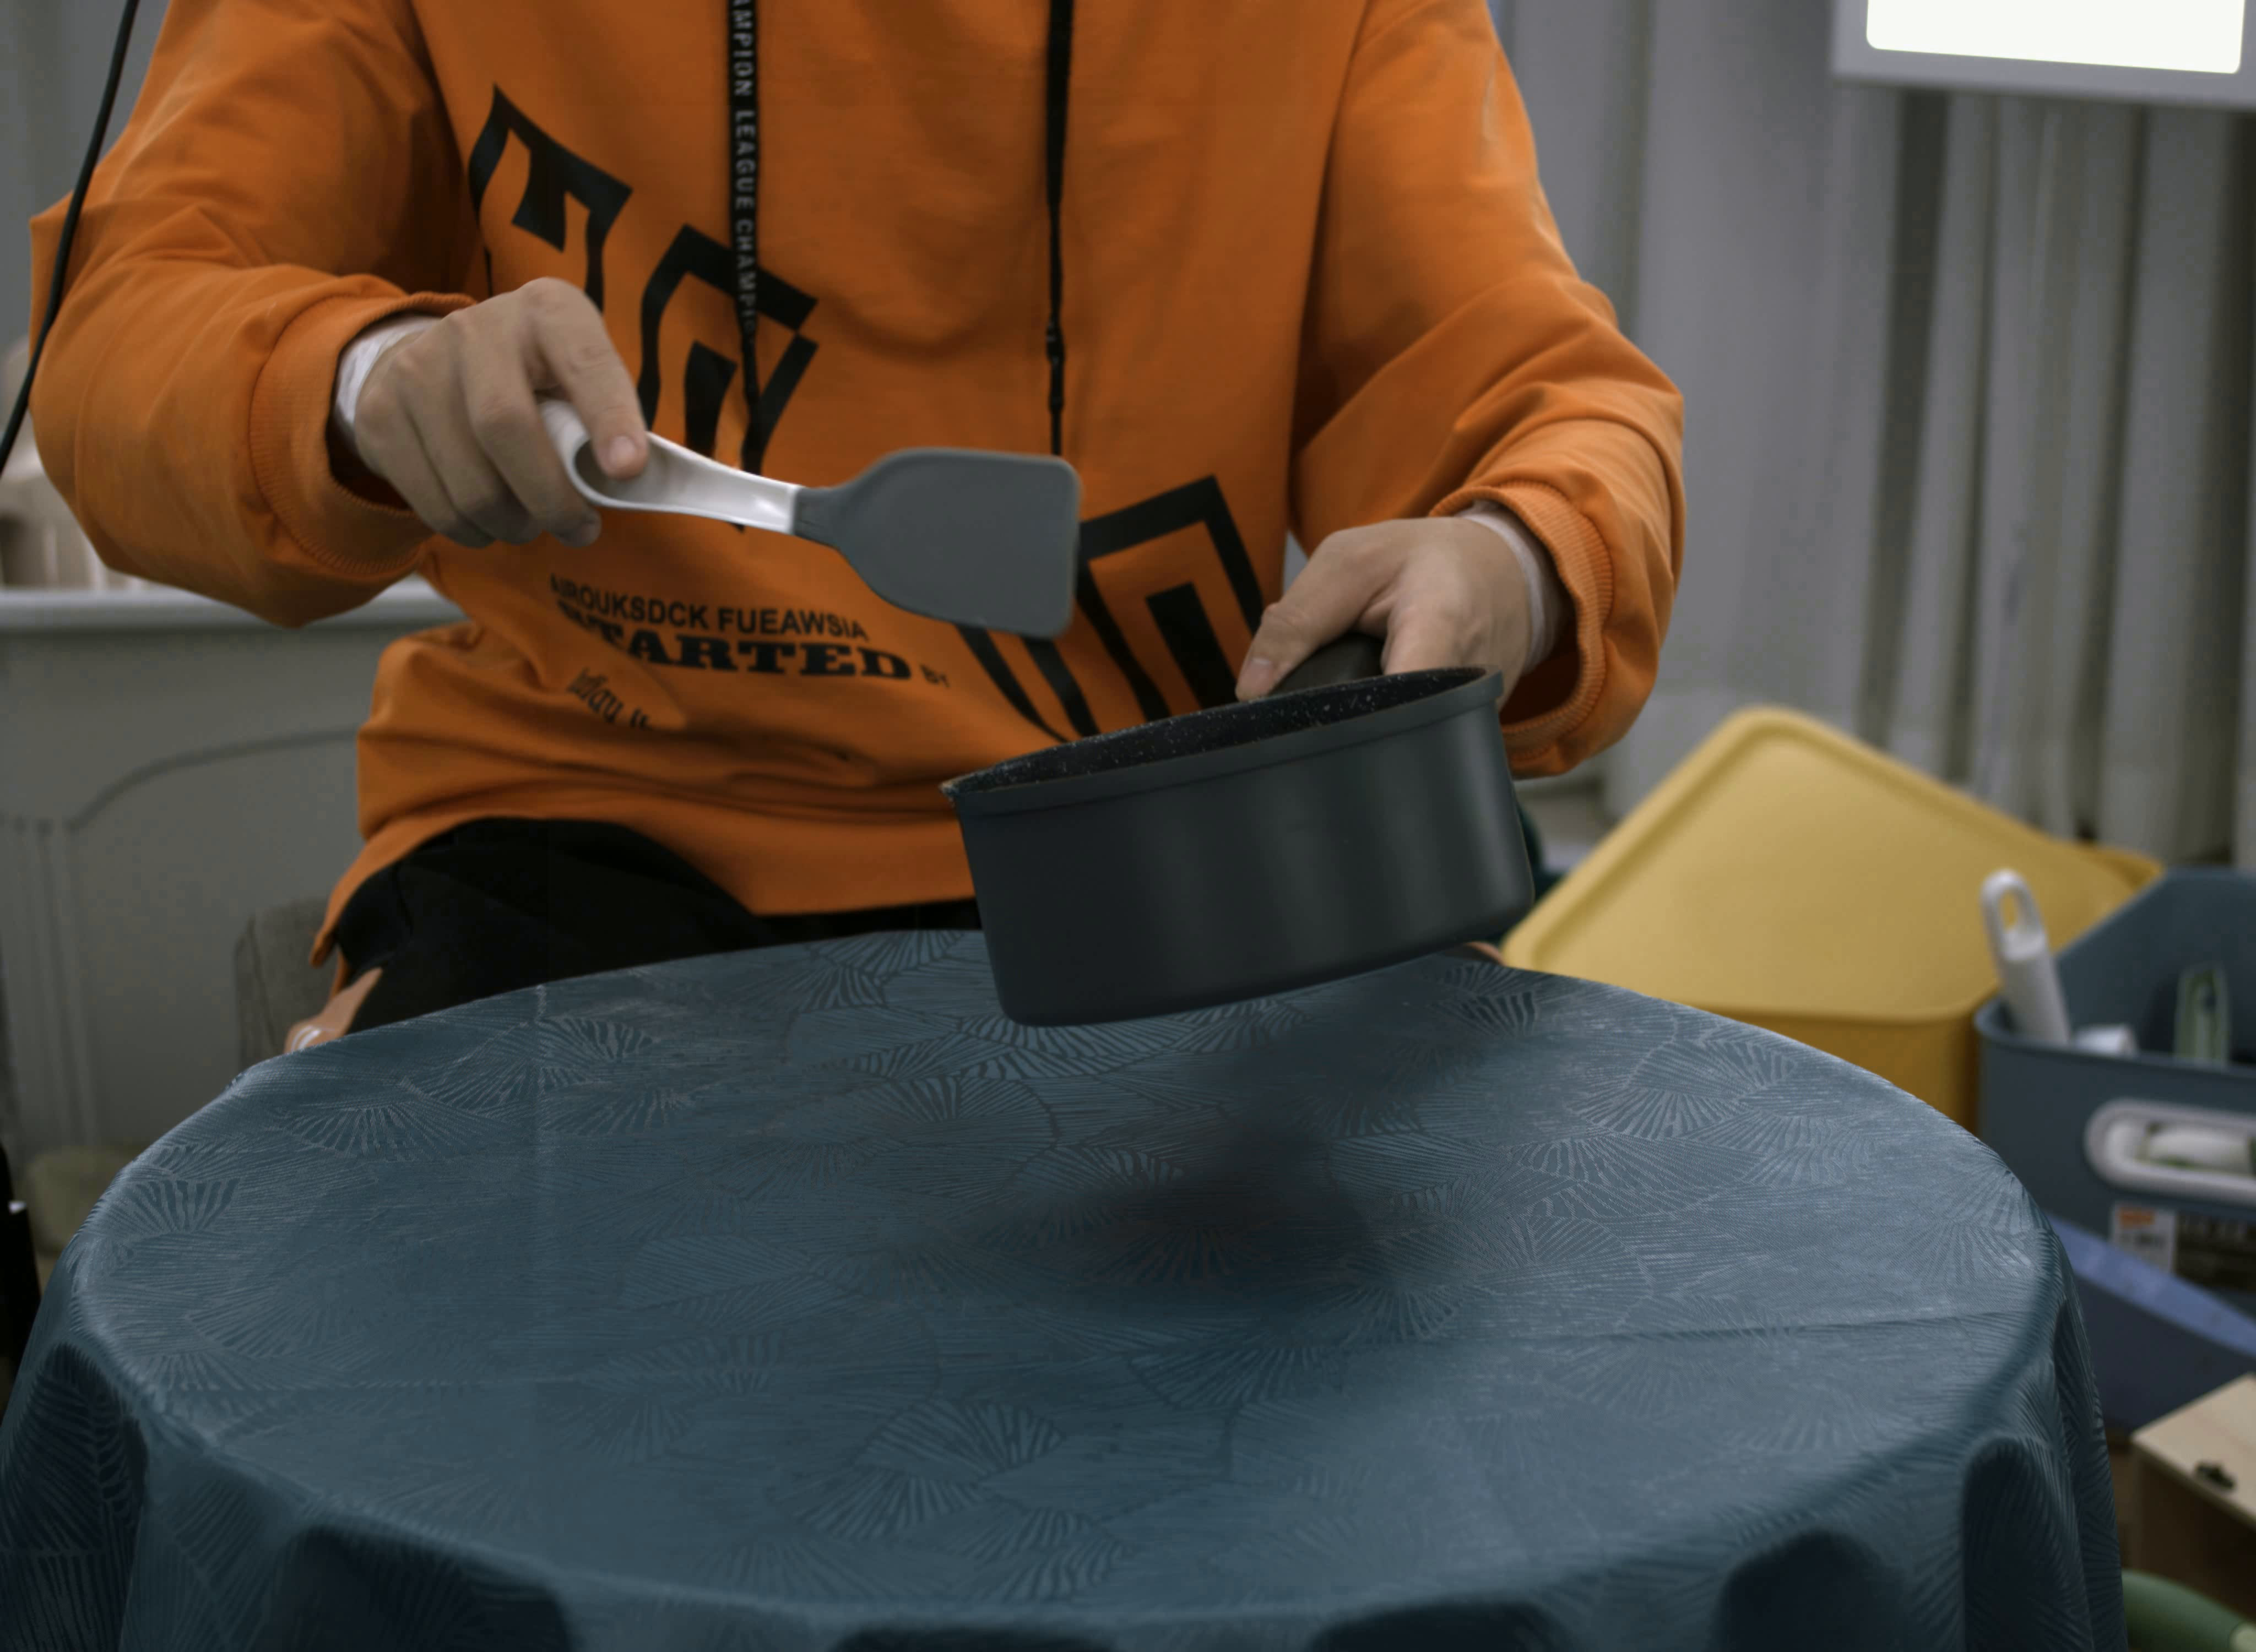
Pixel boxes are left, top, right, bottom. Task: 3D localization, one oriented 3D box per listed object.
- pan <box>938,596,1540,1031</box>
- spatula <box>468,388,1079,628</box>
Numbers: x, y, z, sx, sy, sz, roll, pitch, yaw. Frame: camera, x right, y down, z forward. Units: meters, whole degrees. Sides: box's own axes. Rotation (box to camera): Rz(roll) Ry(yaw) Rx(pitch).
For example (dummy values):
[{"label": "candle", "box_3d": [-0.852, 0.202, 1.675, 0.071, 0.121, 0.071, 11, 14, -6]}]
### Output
[{"label": "pan", "box_3d": [0.055, -0.008, 1.637, 0.171, 0.087, 0.329, -10, 7, 16]}, {"label": "spatula", "box_3d": [-0.112, -0.103, 1.593, 0.032, 0.059, 0.284, 3, 7, -40]}]
